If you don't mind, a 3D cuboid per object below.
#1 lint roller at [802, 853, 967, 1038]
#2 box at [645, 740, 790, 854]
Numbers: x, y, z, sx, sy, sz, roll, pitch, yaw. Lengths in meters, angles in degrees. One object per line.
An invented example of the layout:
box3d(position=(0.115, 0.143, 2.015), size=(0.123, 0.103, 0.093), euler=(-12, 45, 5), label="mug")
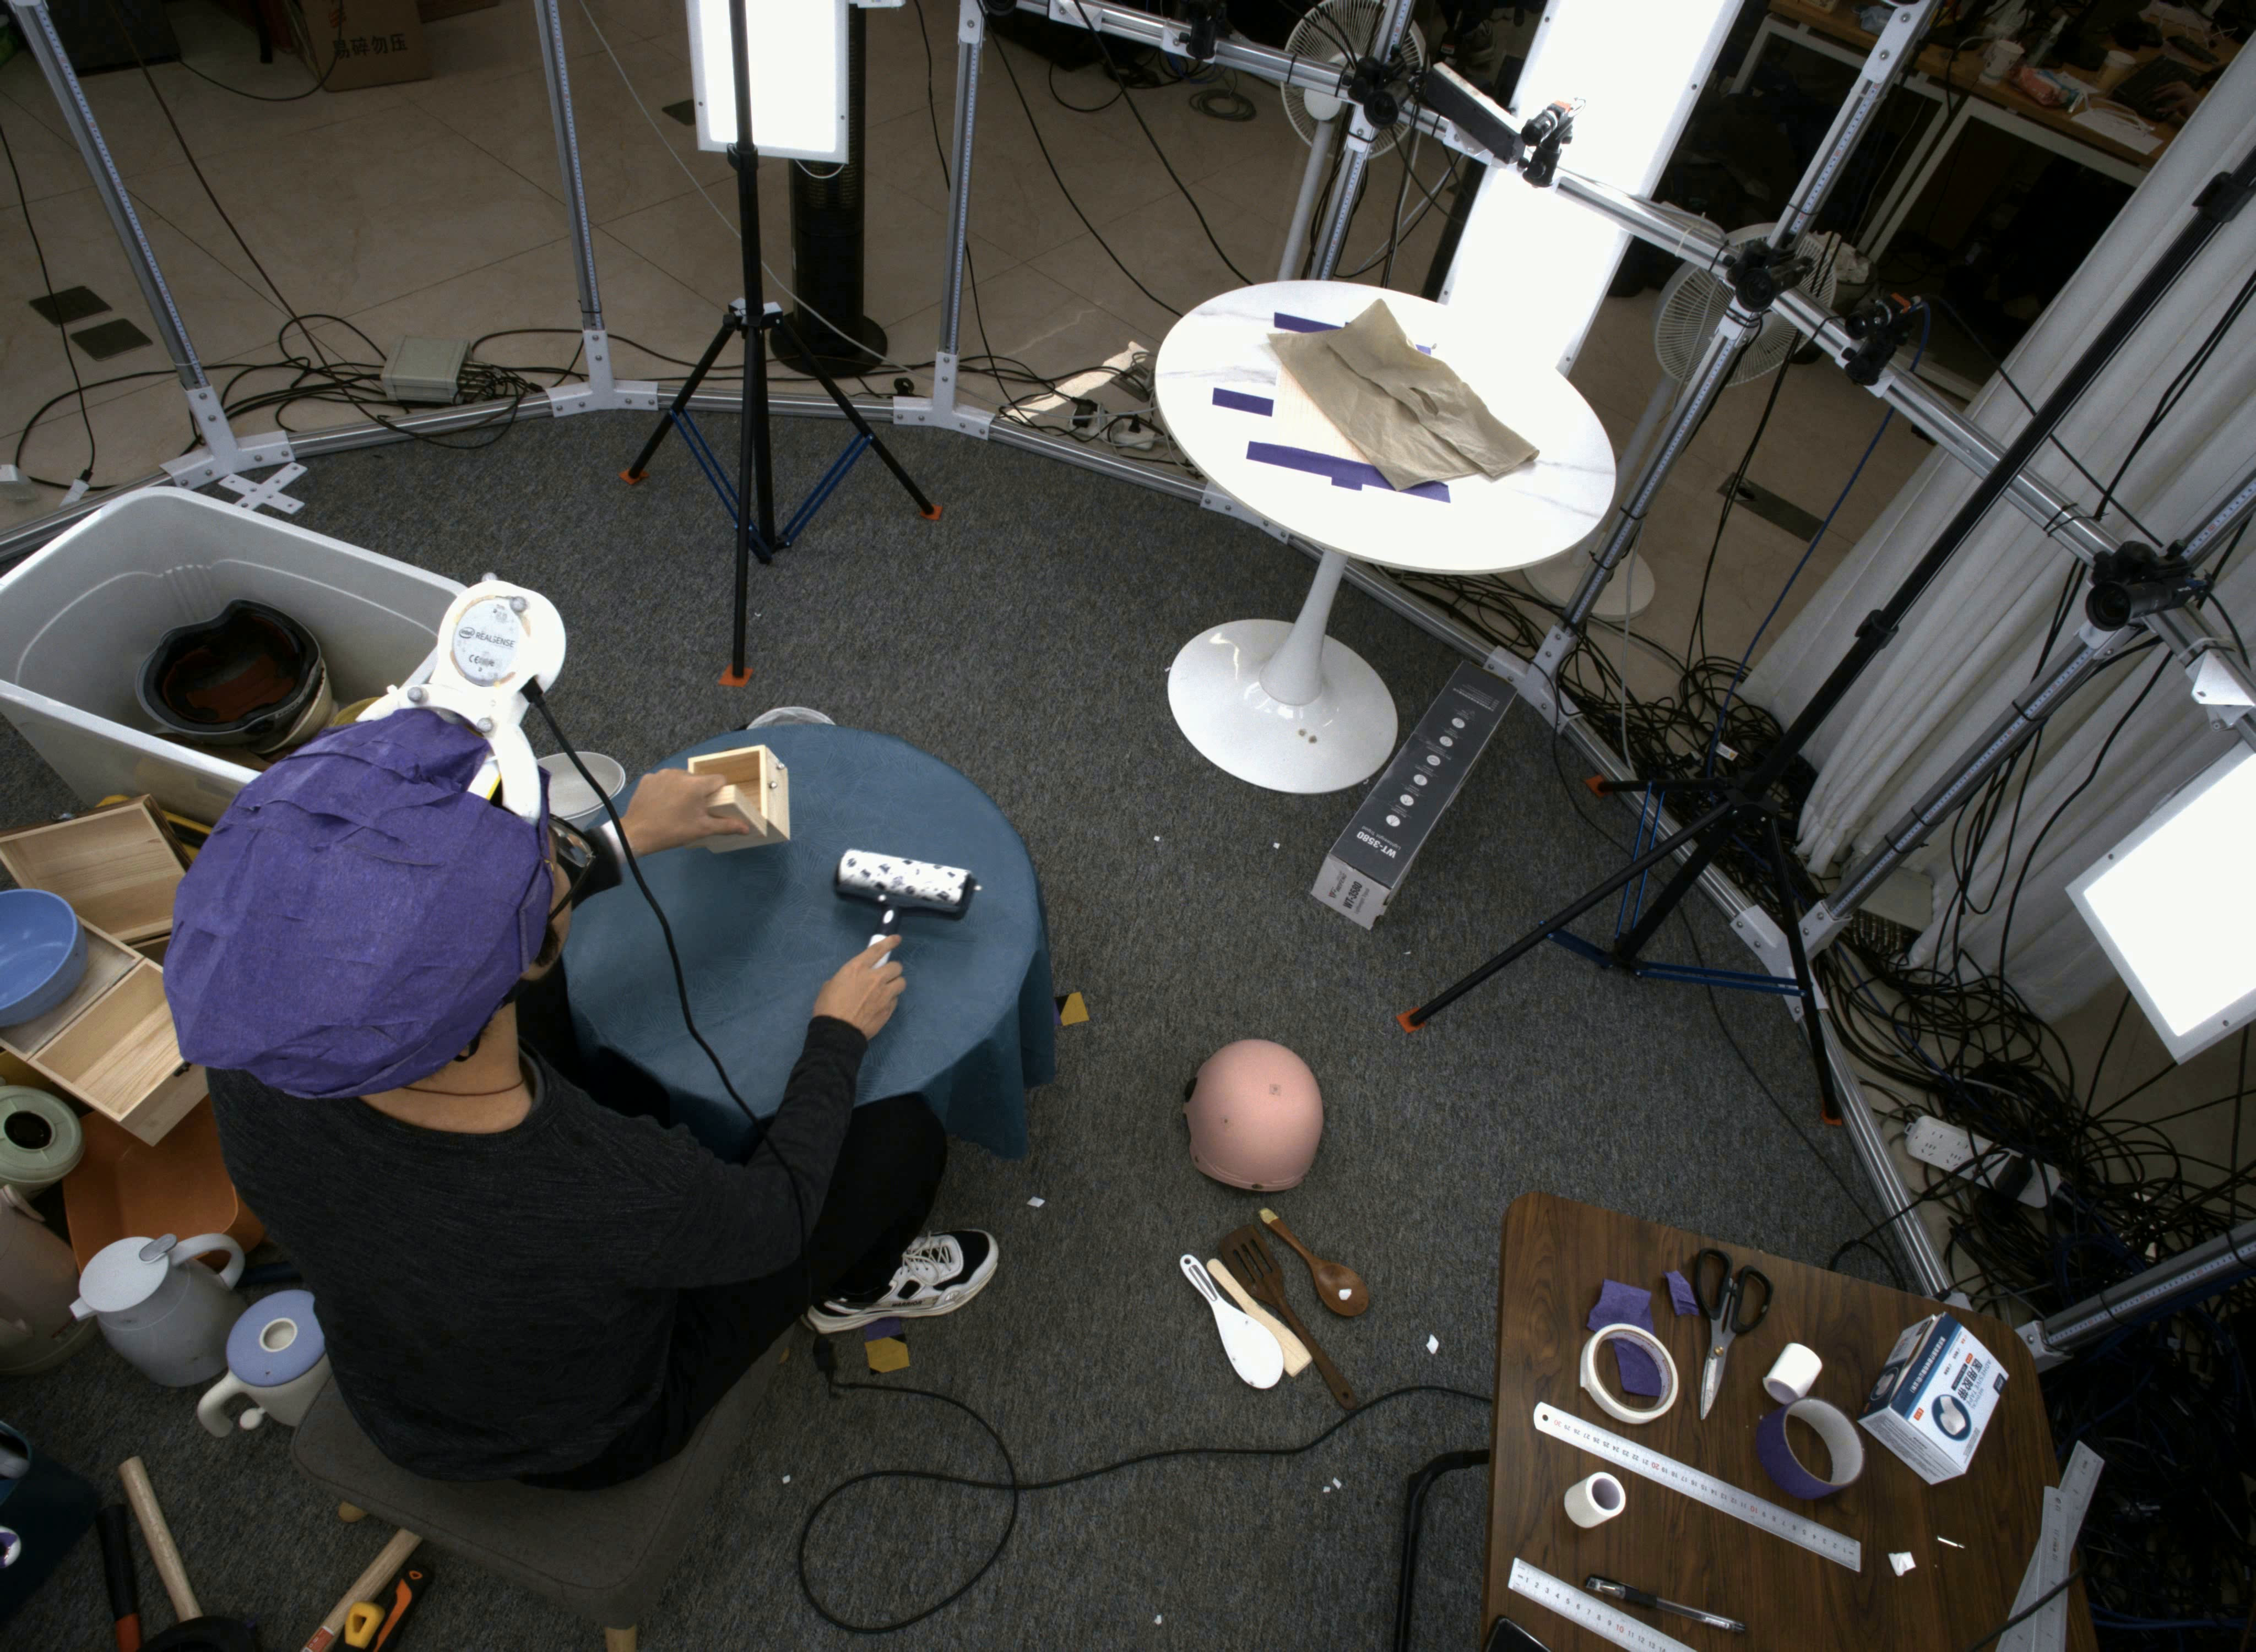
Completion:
box3d(position=(-0.322, 0.145, 1.563), size=(0.172, 0.052, 0.245), euler=(16, 51, 14), label="lint roller")
box3d(position=(-0.491, -0.047, 1.547), size=(0.101, 0.189, 0.132), euler=(-11, 69, 5), label="box")
